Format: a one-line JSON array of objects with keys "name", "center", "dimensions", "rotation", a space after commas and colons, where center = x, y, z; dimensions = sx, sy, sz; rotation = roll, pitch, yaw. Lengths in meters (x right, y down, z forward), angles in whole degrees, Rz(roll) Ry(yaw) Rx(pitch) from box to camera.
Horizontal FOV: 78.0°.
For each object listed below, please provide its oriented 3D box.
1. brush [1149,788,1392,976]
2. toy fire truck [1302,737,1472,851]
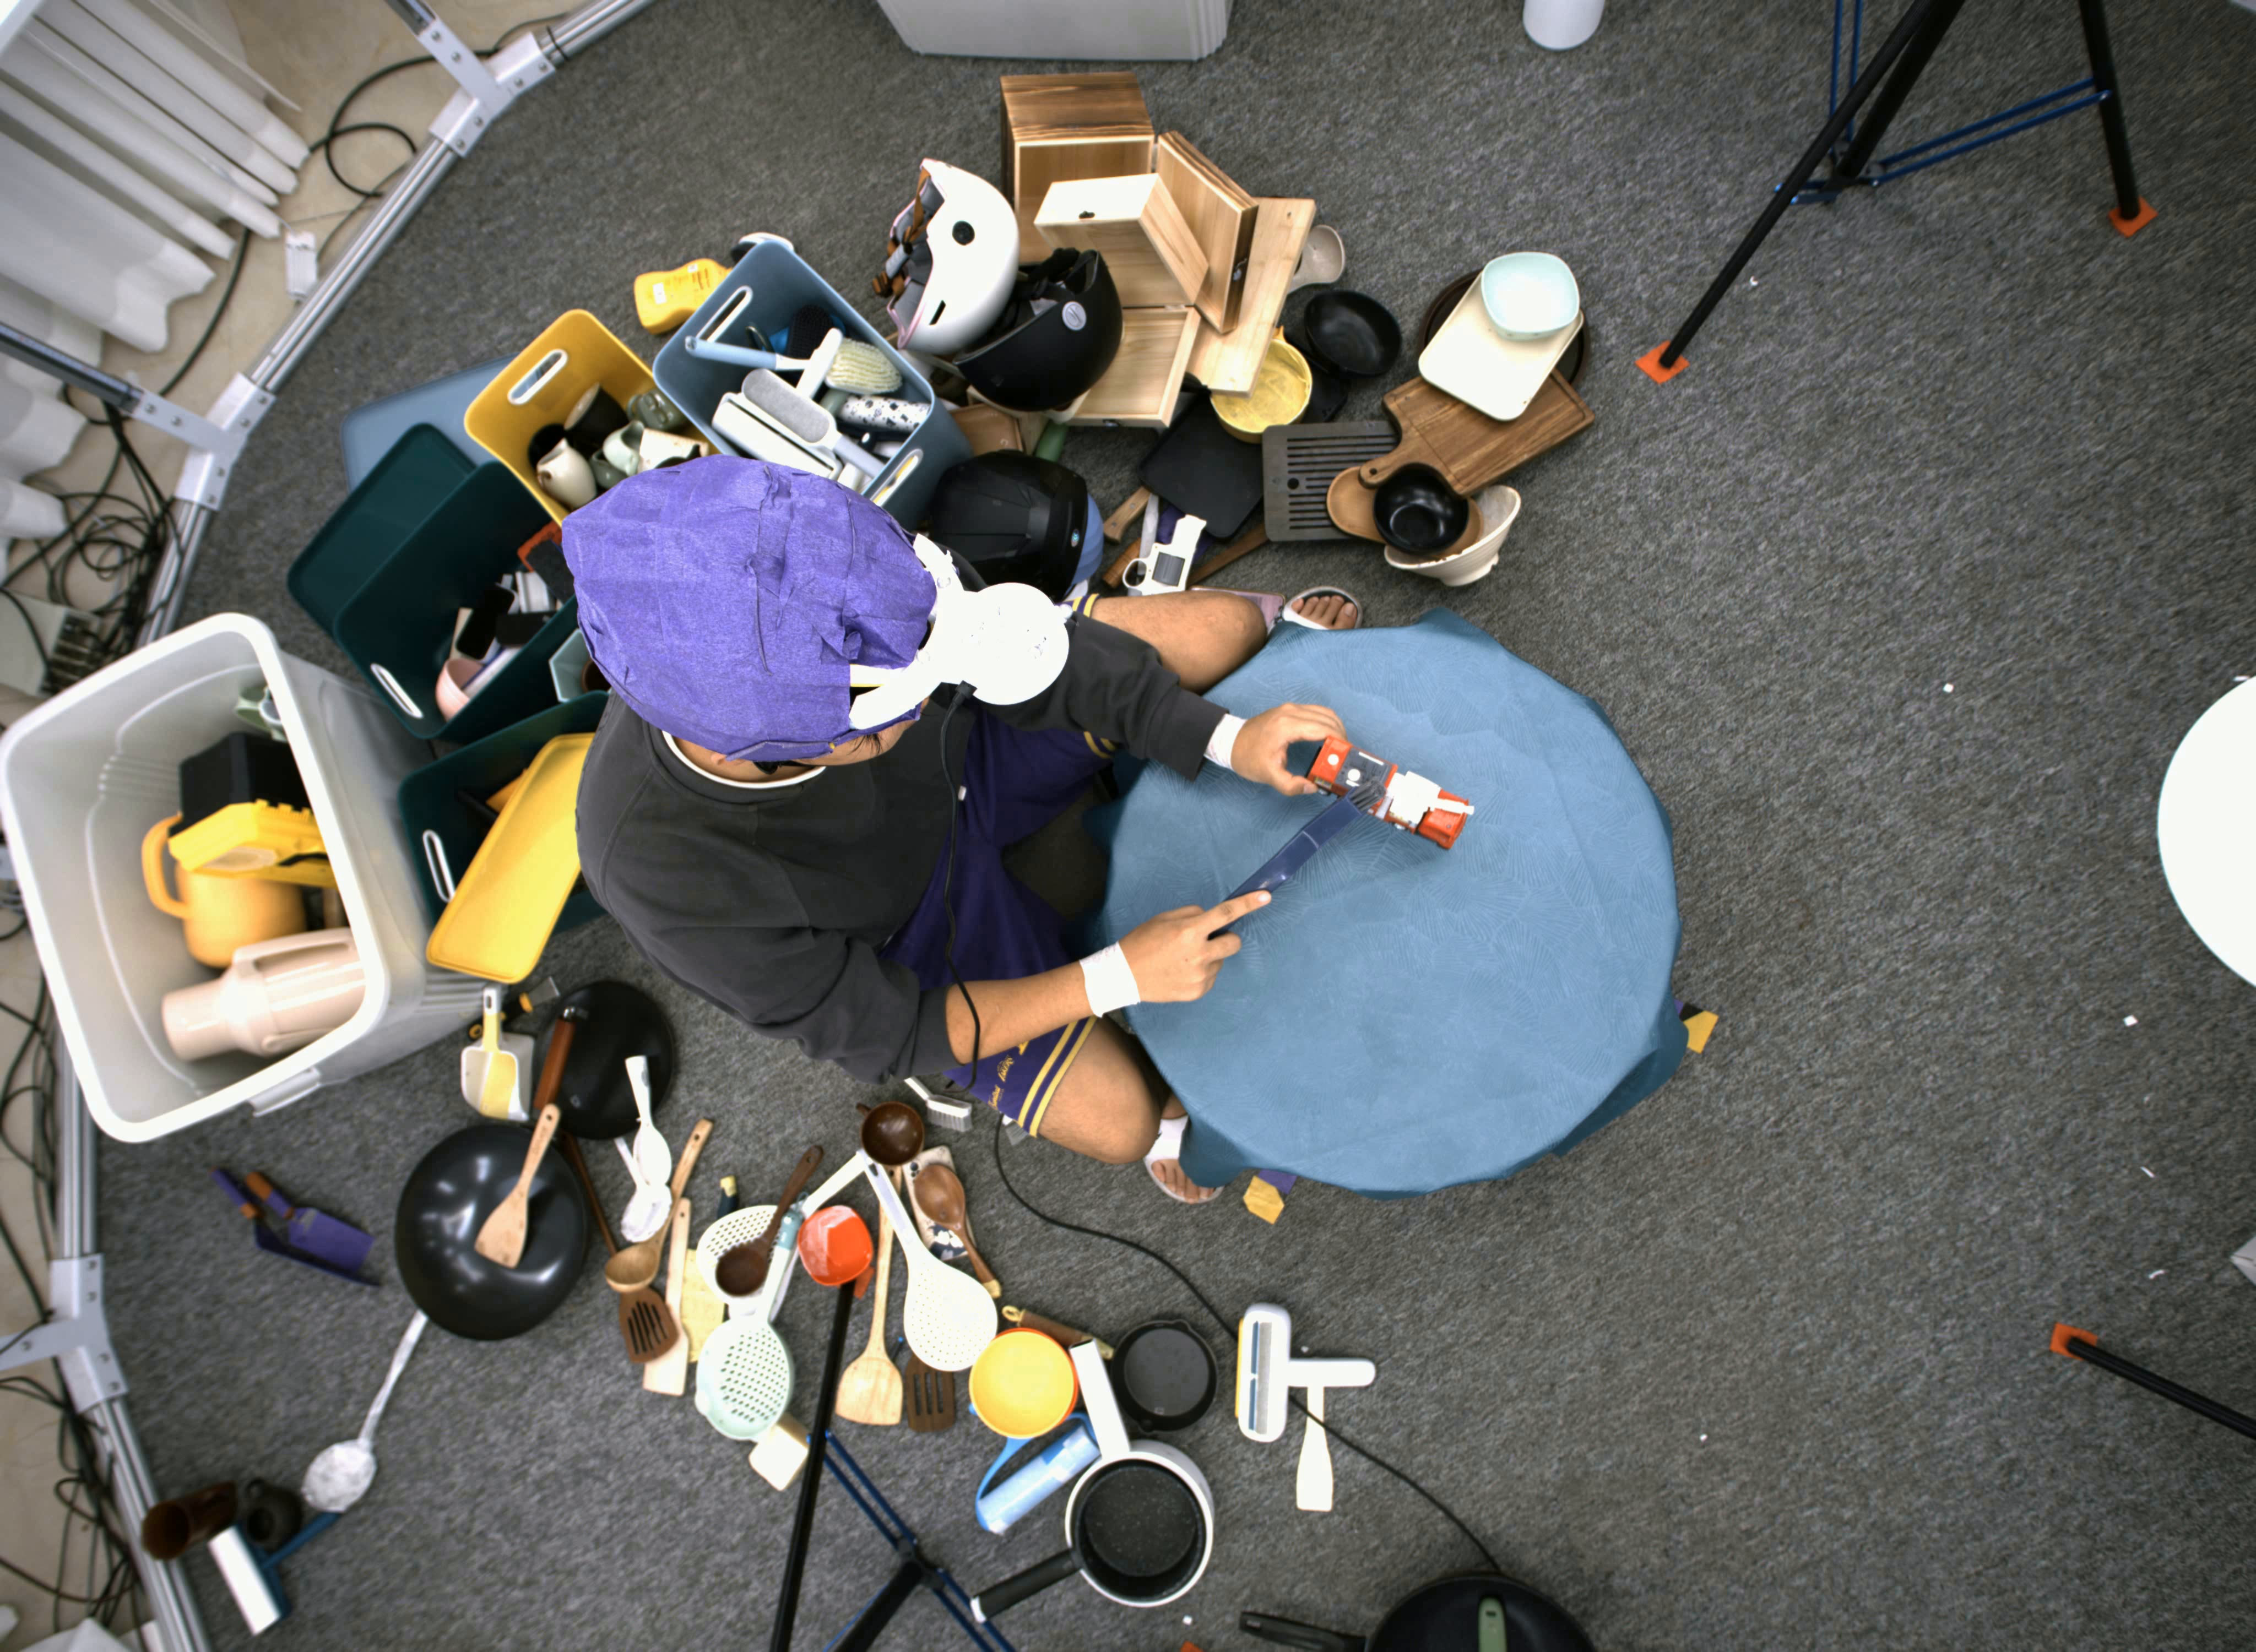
[{"name": "brush", "center": [0.133, 0.052, 1.331], "dimensions": [0.274, 0.095, 0.033], "rotation": [-42, 99, 6]}, {"name": "toy fire truck", "center": [0.258, -0.033, 1.368], "dimensions": [0.168, 0.071, 0.053], "rotation": [25, 78, 8]}]
